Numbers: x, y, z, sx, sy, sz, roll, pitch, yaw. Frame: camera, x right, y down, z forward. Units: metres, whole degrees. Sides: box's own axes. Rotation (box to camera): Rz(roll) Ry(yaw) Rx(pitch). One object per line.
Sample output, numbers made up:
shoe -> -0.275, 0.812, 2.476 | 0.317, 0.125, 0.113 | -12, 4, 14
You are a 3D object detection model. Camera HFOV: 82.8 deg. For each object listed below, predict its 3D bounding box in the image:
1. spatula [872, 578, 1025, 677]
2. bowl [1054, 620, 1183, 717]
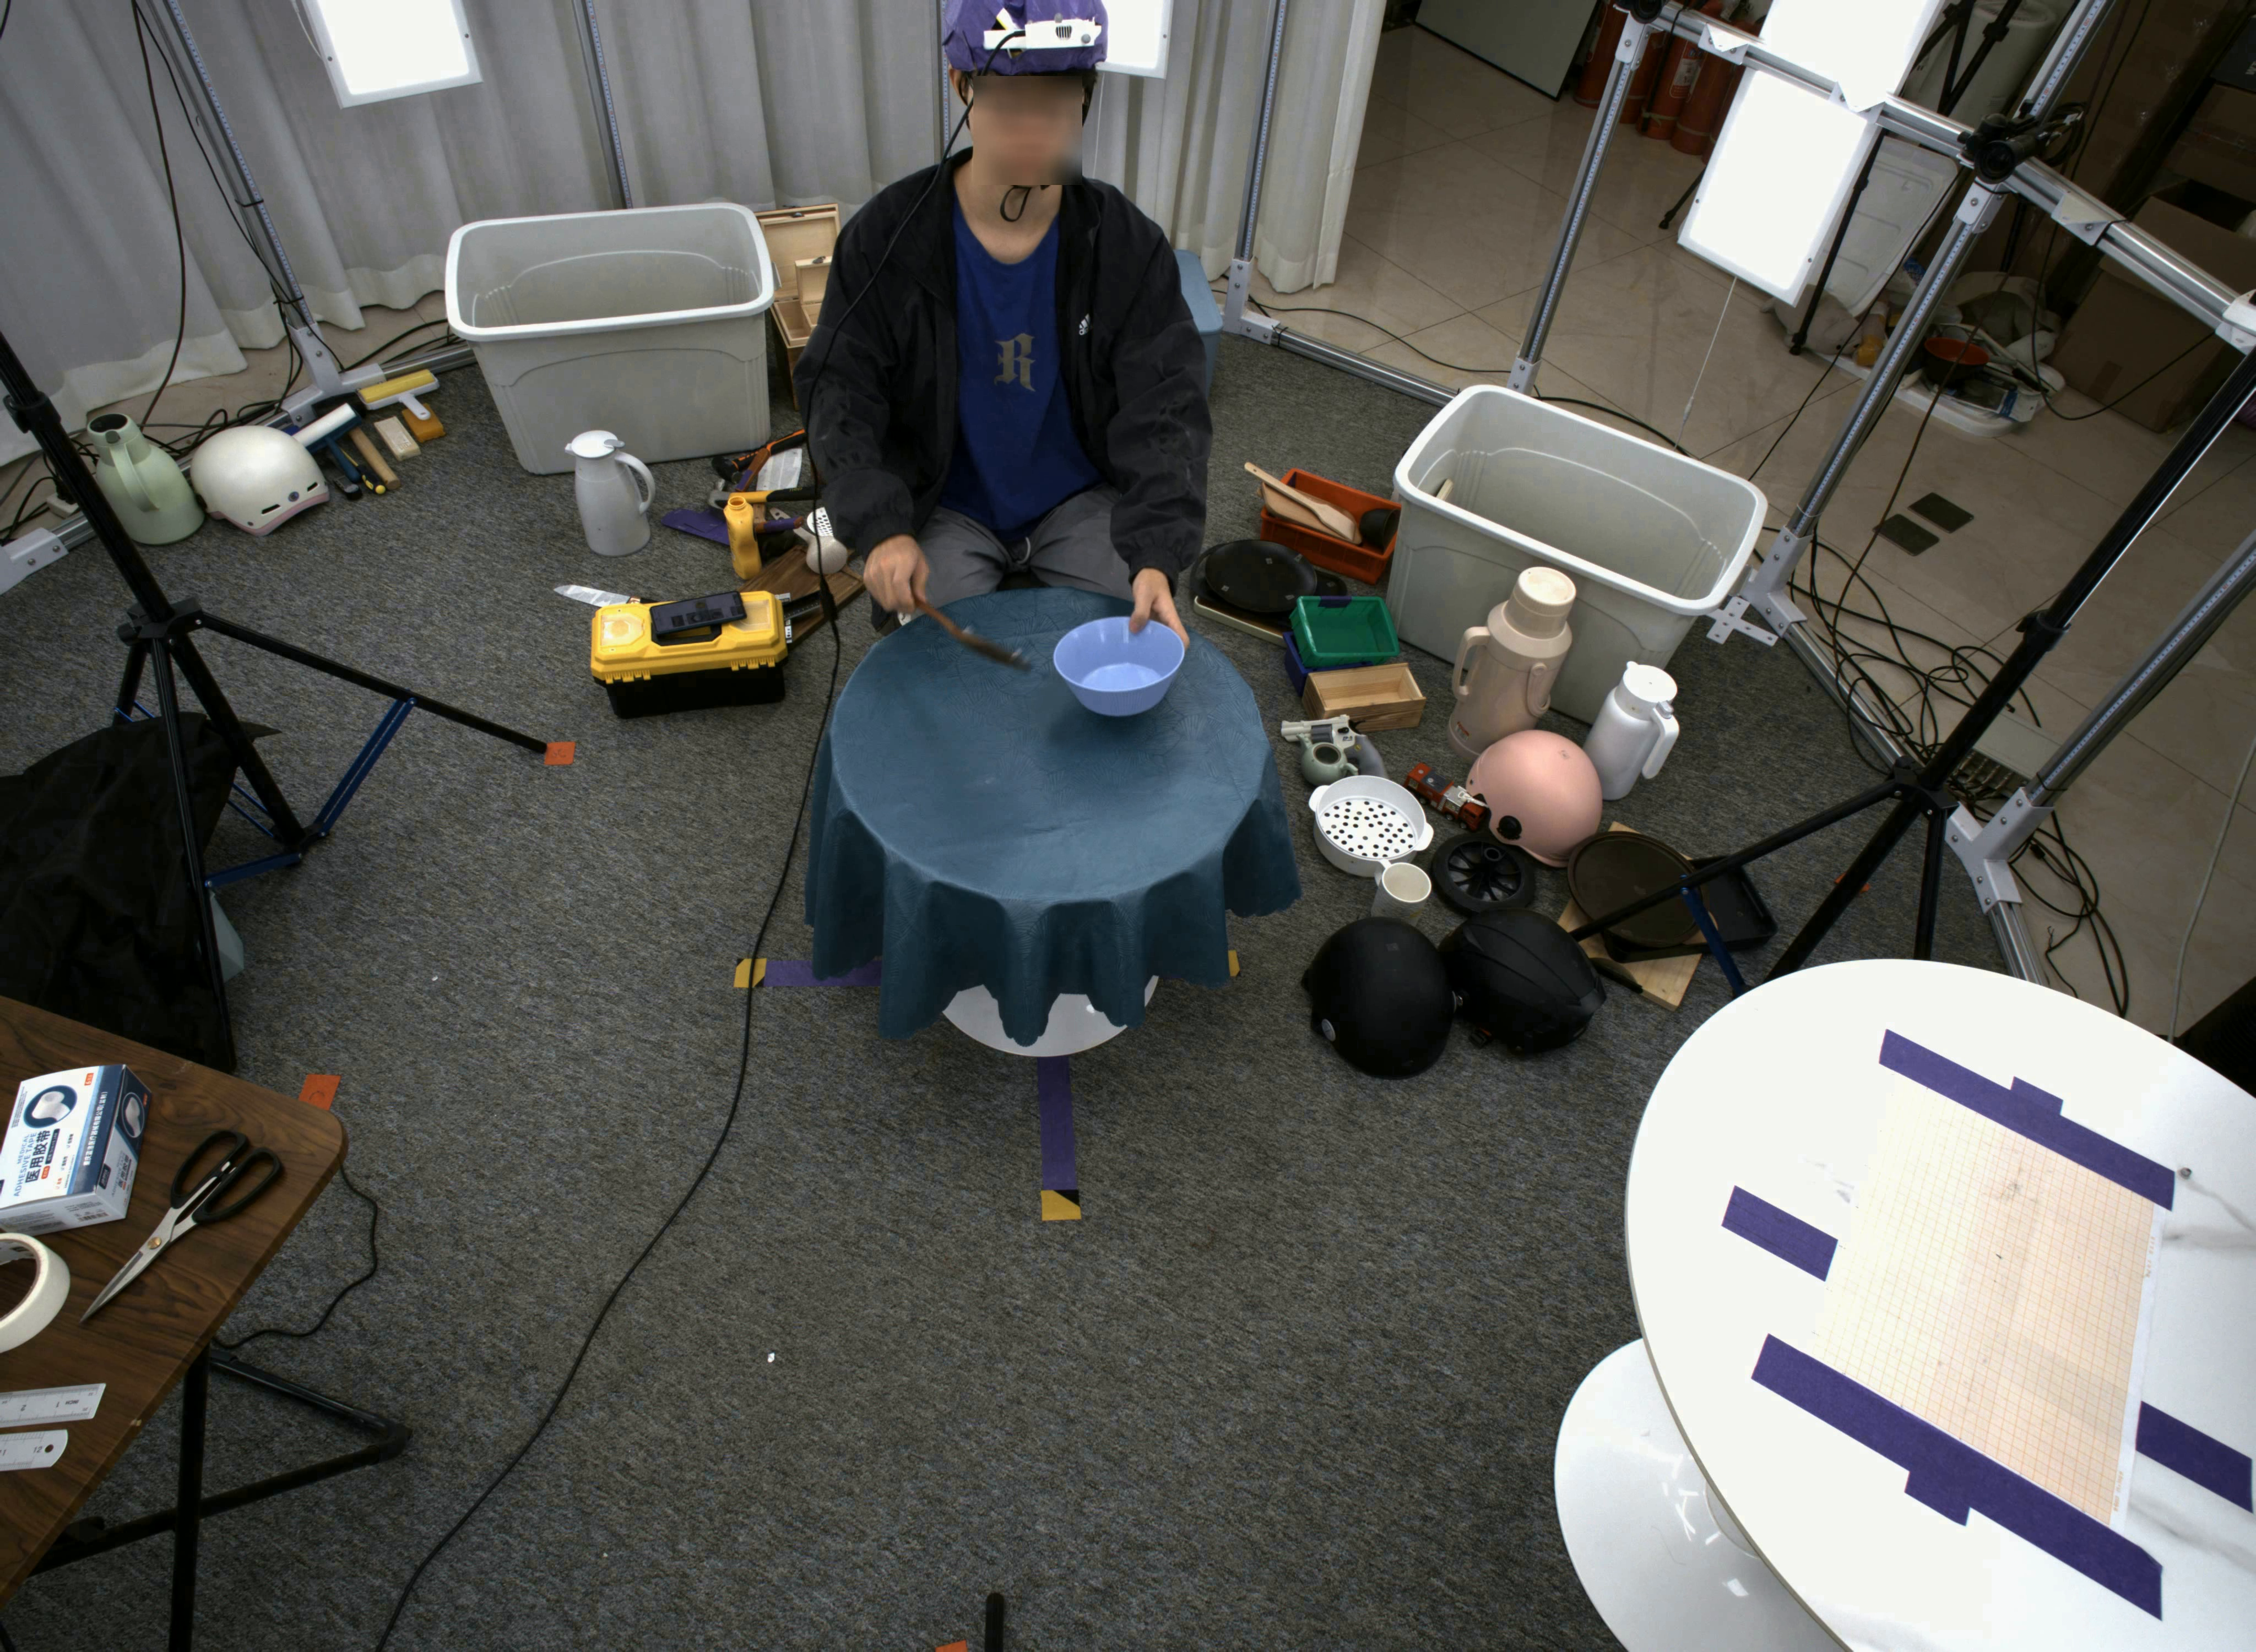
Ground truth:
spatula -> -0.258, -0.270, 1.718 | 0.084, 0.024, 0.394 | 25, 9, -42
bowl -> -0.010, -0.207, 1.750 | 0.176, 0.068, 0.180 | -3, 39, 3
